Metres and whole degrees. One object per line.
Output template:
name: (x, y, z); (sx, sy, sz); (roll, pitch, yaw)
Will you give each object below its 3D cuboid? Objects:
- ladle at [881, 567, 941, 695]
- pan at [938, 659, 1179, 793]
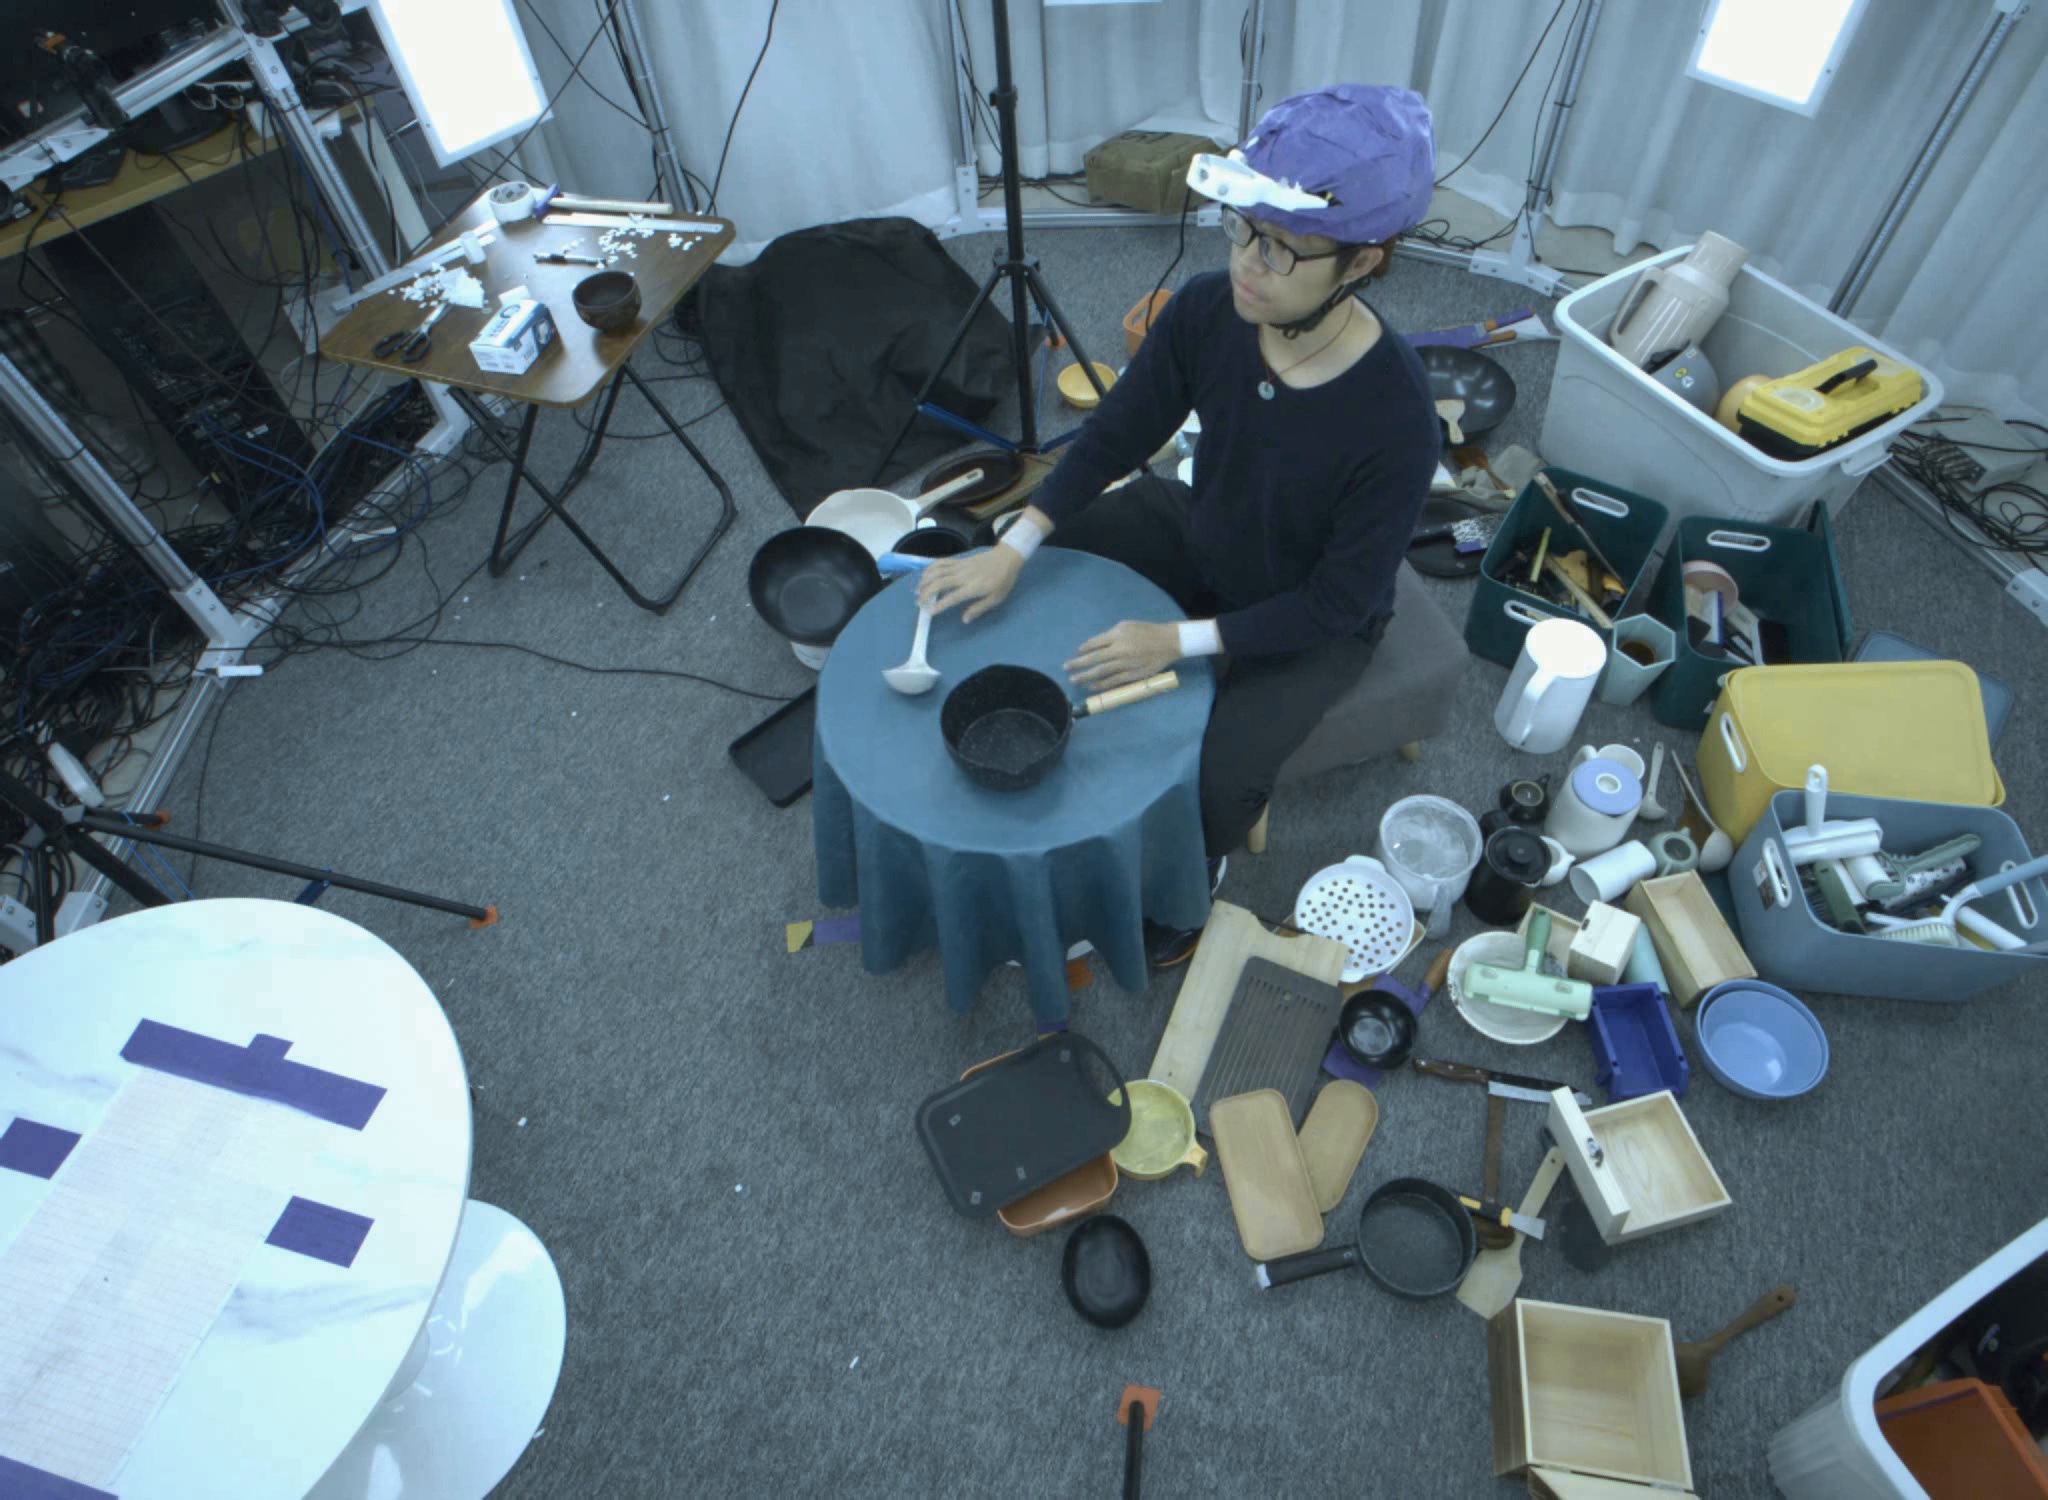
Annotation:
ladle: (-0.164, -0.201, 1.891); (0.089, 0.070, 0.272); (-4, 56, 10)
pan: (0.052, -0.046, 1.751); (0.344, 0.109, 0.204); (-12, 54, -4)
